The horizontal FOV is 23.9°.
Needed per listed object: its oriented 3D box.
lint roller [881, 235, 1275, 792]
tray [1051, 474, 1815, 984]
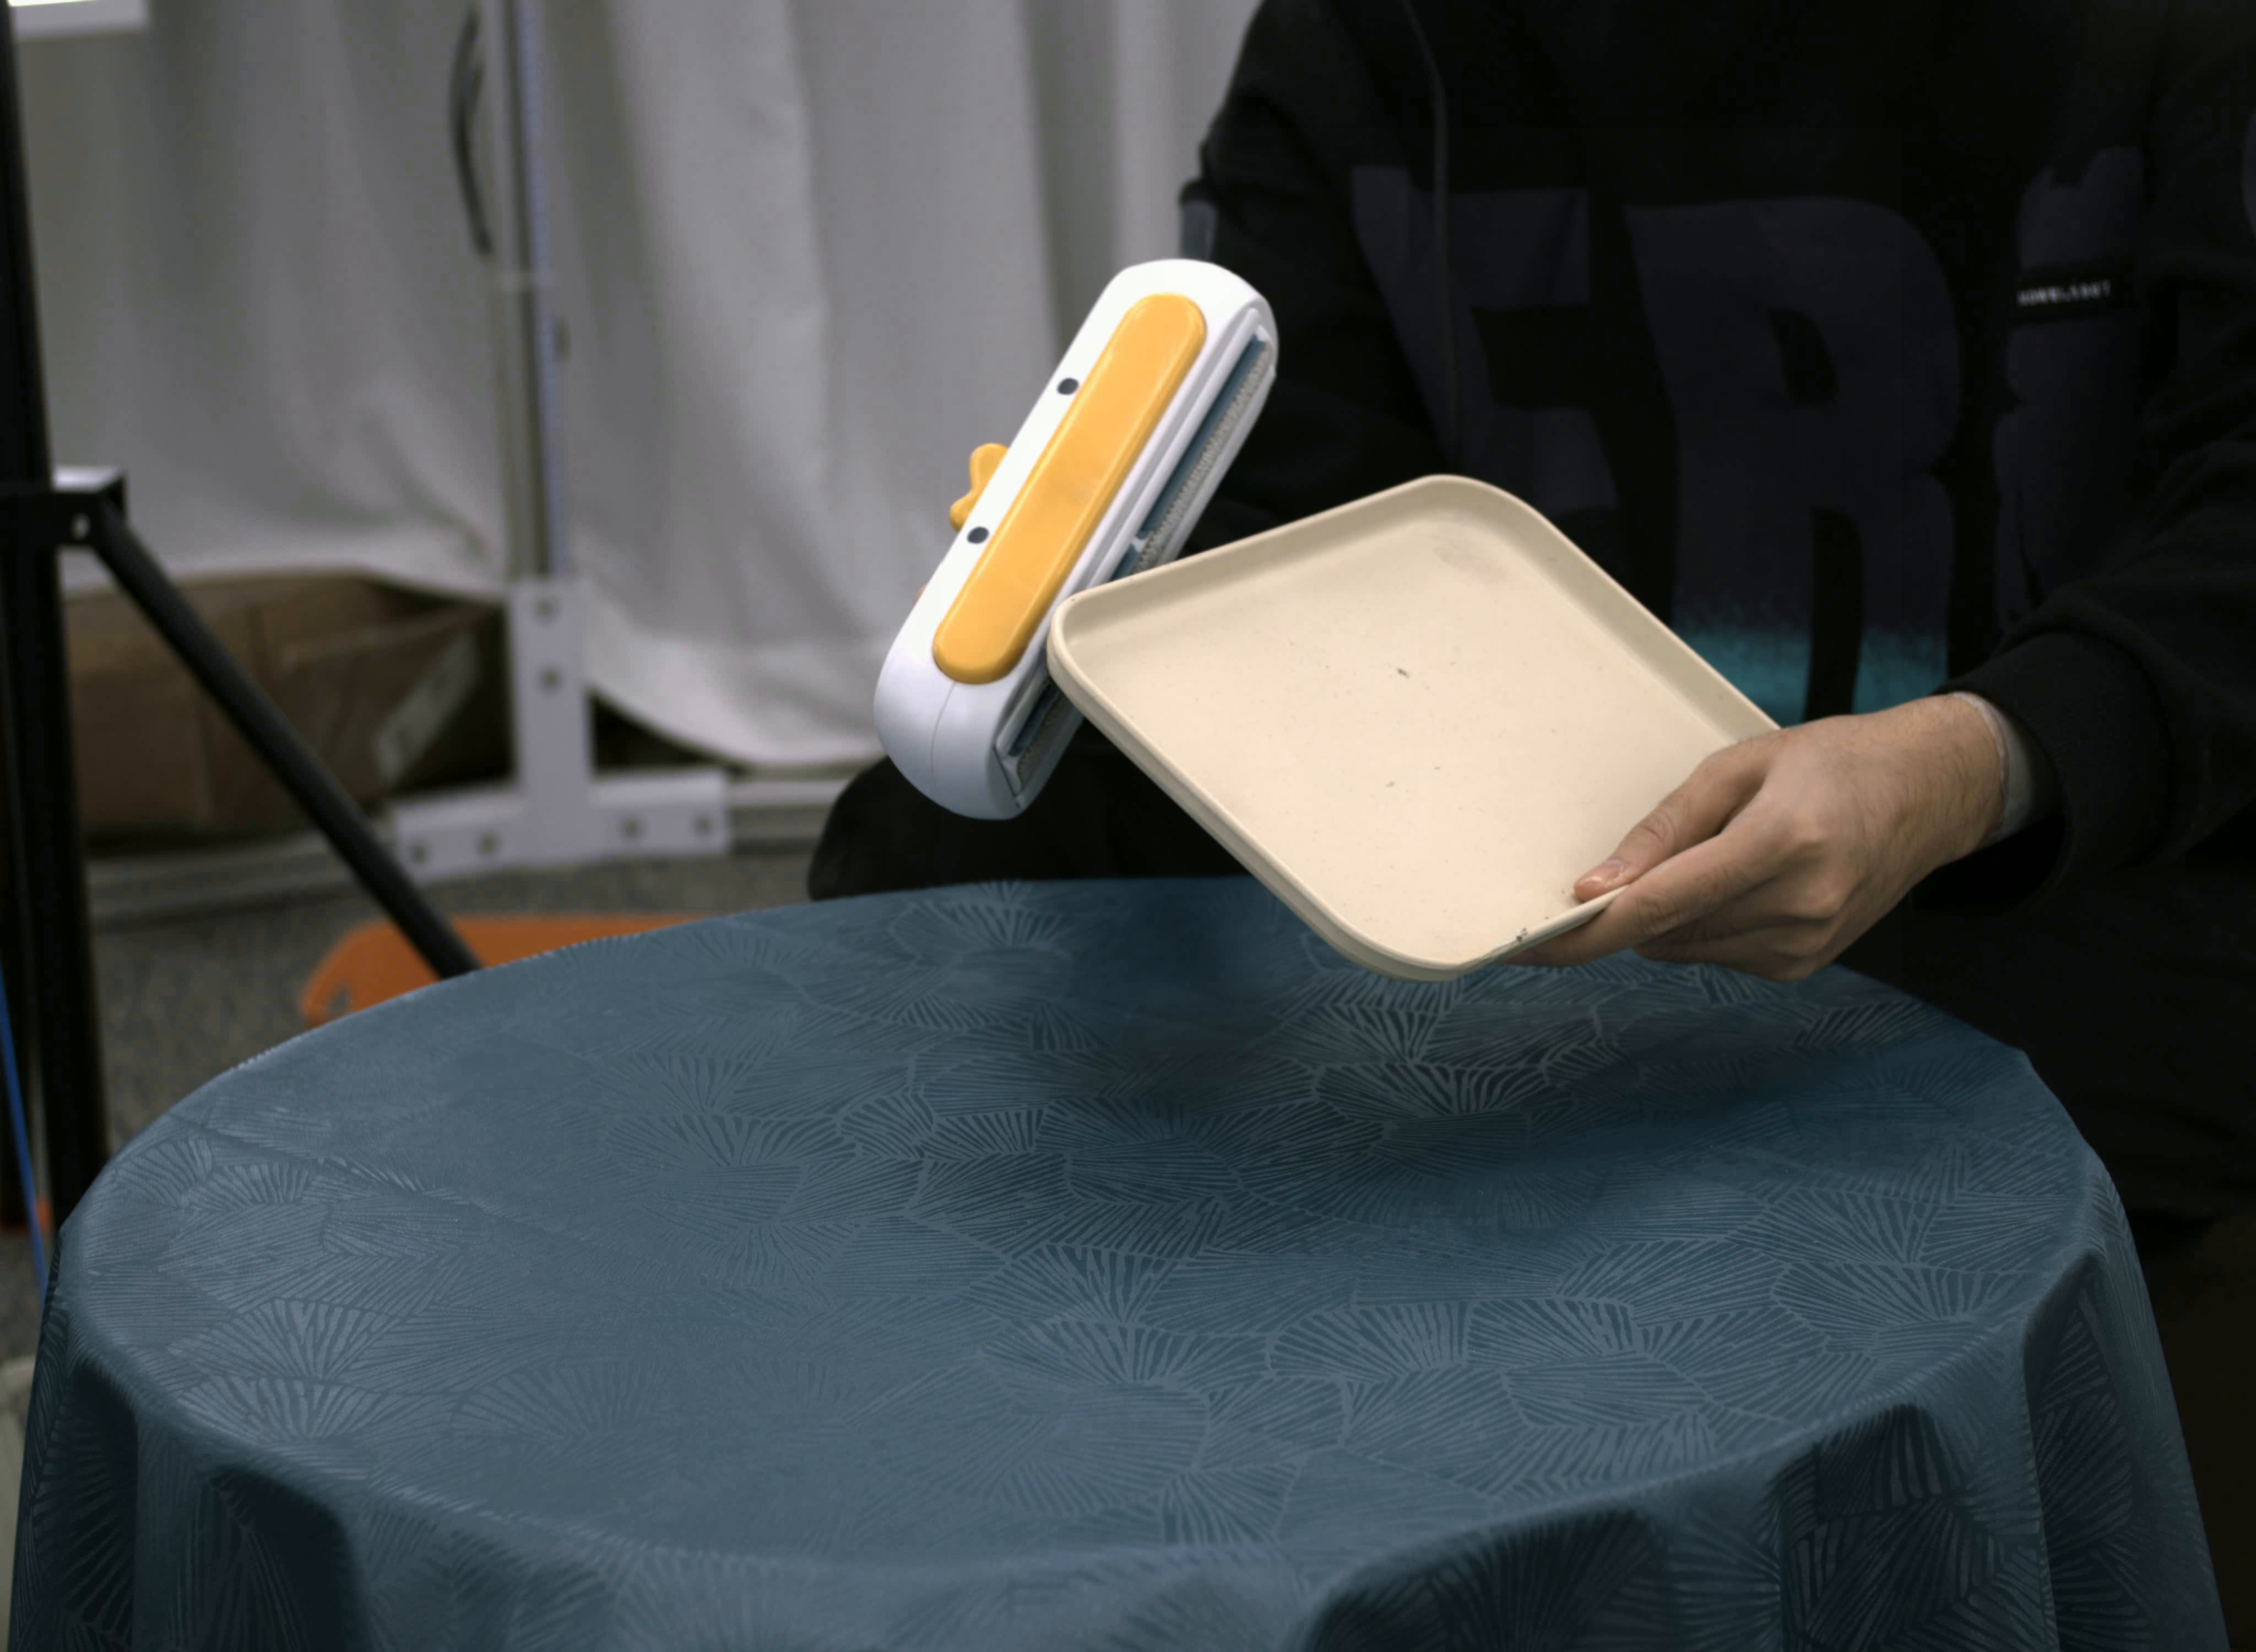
[{"bbox_3d":[-0.019,-0.073,1.706,0.075,0.191,0.193,21,65,11],"label":"lint roller"},{"bbox_3d":[0.094,-0.031,1.613,0.174,0.017,0.234,43,37,23],"label":"tray"}]
